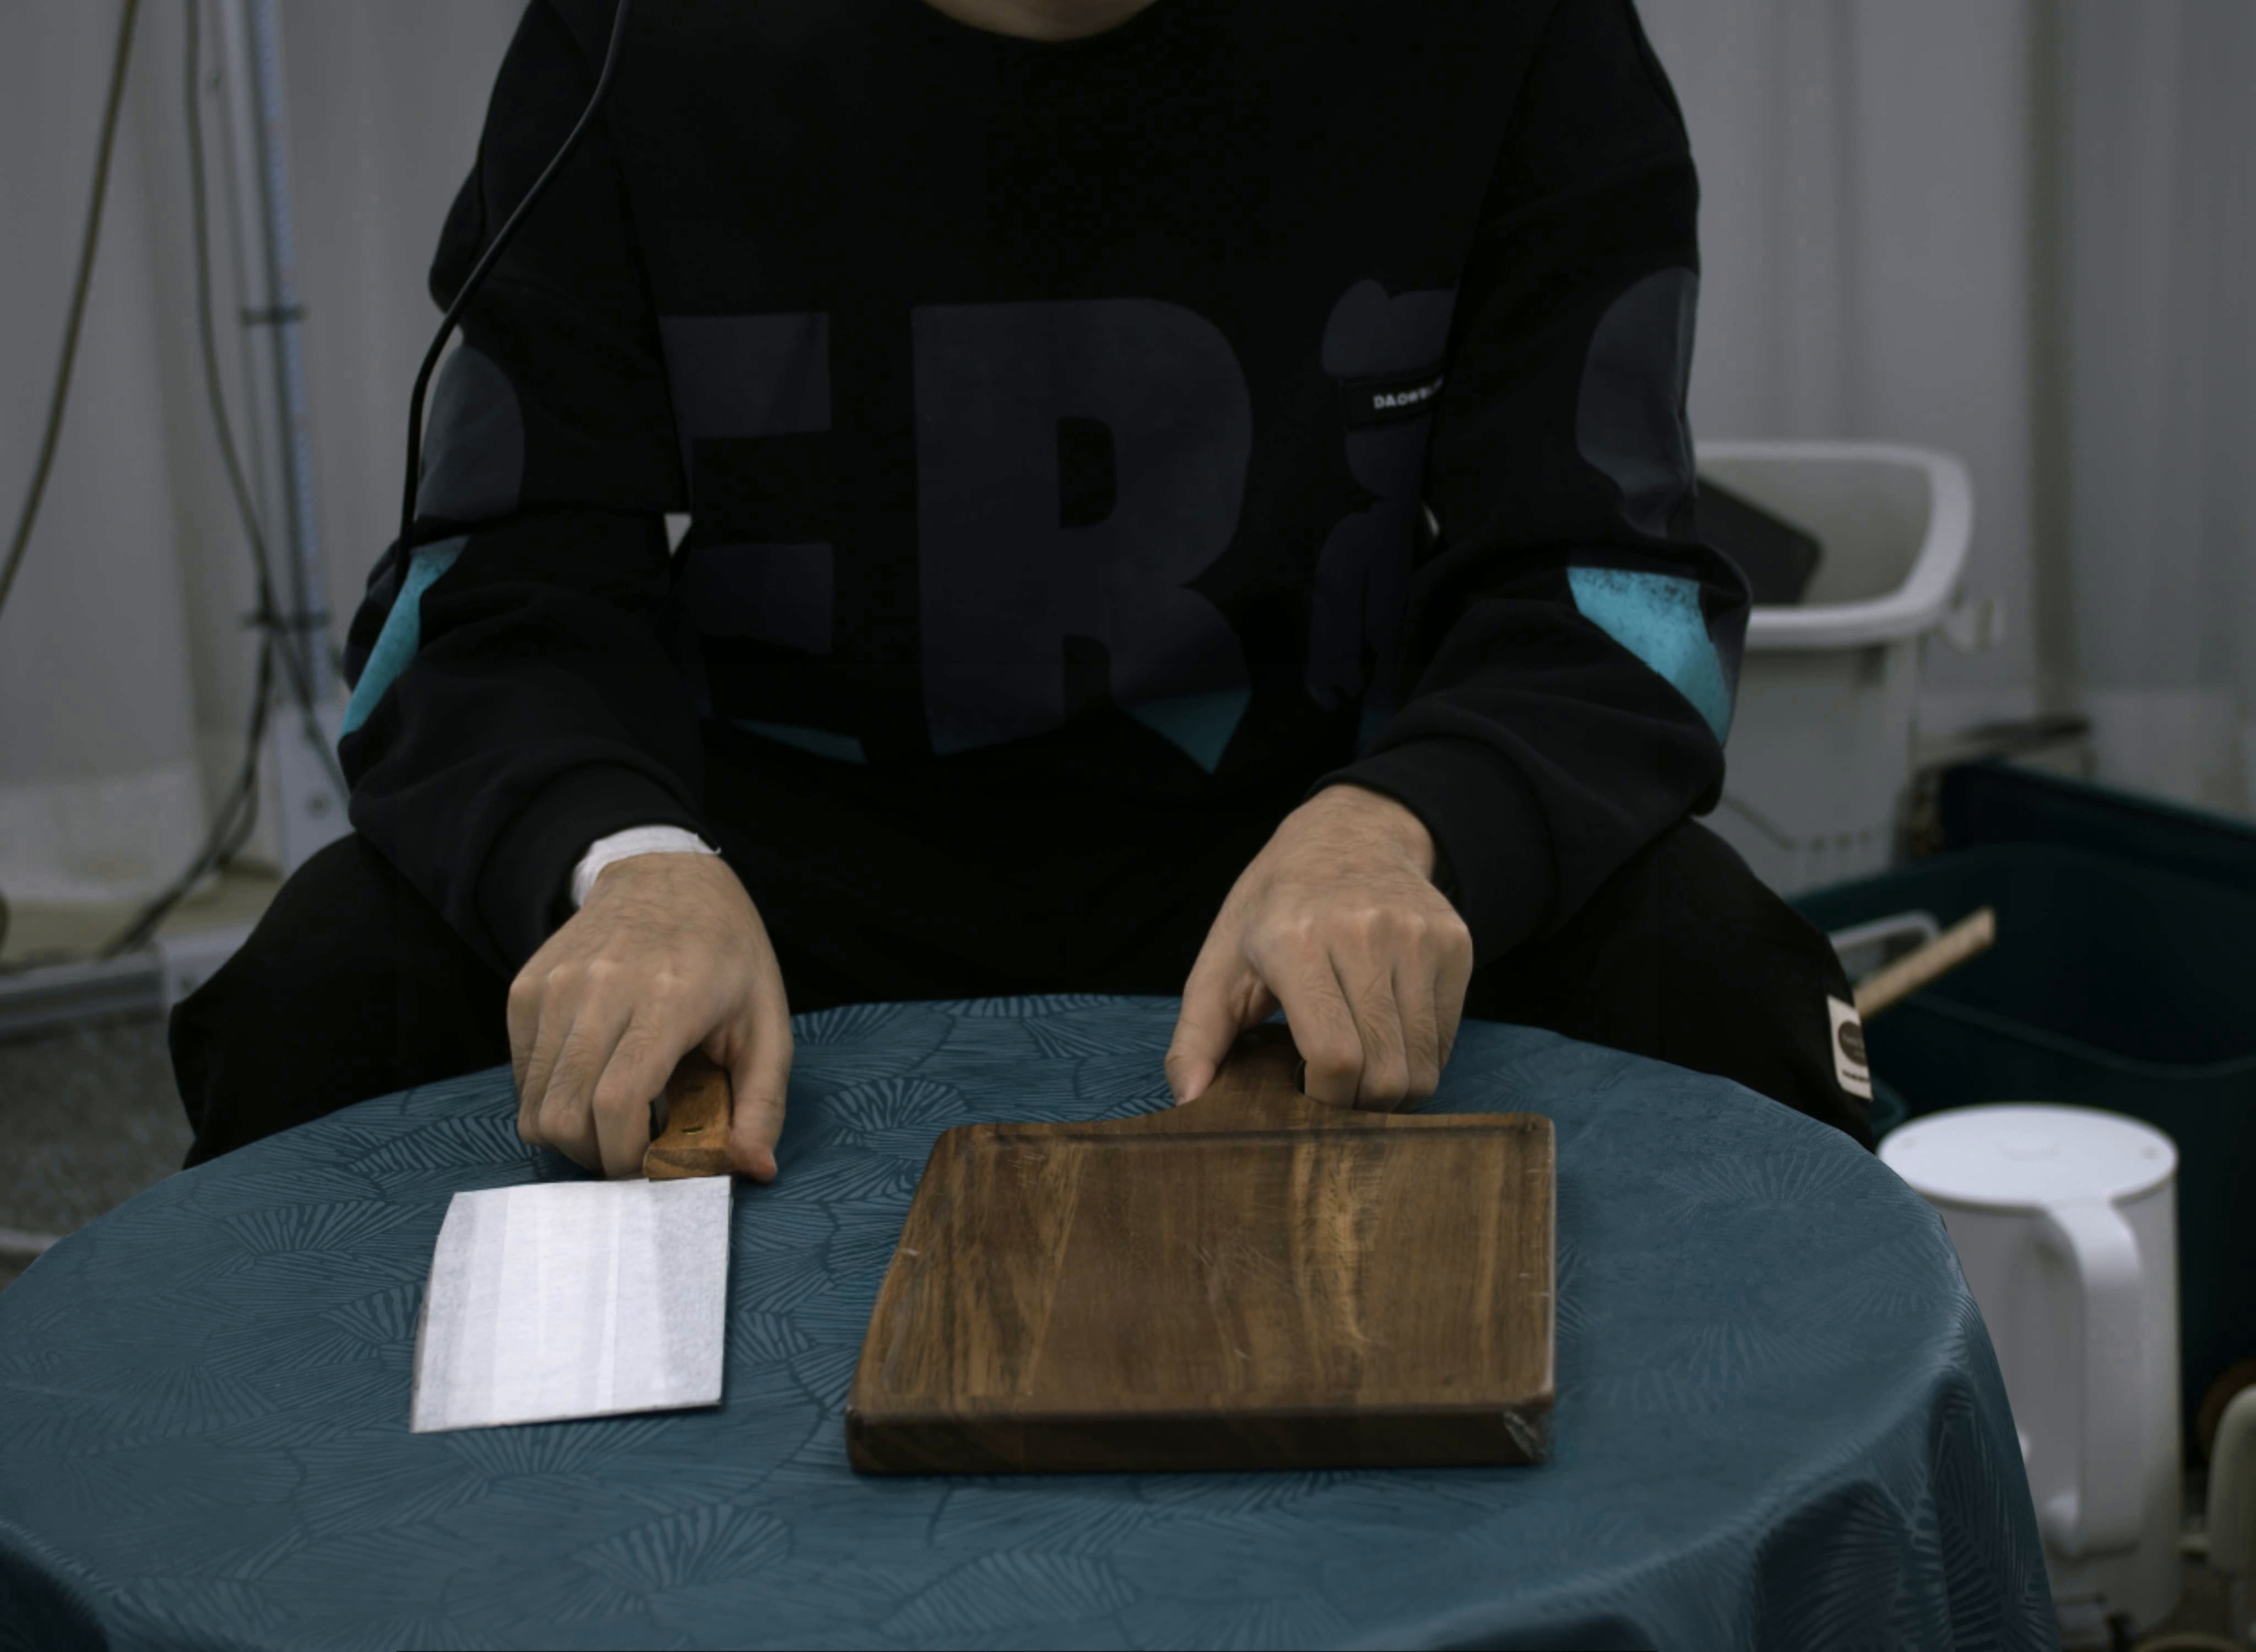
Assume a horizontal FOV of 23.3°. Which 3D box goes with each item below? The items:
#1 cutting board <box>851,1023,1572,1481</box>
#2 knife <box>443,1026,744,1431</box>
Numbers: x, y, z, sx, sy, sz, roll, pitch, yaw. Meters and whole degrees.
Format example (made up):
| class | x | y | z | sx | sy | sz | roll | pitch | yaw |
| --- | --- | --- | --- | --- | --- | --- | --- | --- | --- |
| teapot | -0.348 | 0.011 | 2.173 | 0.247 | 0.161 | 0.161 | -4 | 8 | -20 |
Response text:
| class | x | y | z | sx | sy | sz | roll | pitch | yaw |
| --- | --- | --- | --- | --- | --- | --- | --- | --- | --- |
| cutting board | 0.032 | 0.121 | 1.646 | 0.200 | 0.023 | 0.354 | -2 | 15 | 5 |
| knife | -0.165 | 0.123 | 1.689 | 0.092 | 0.021 | 0.308 | -6 | 17 | -1 |
